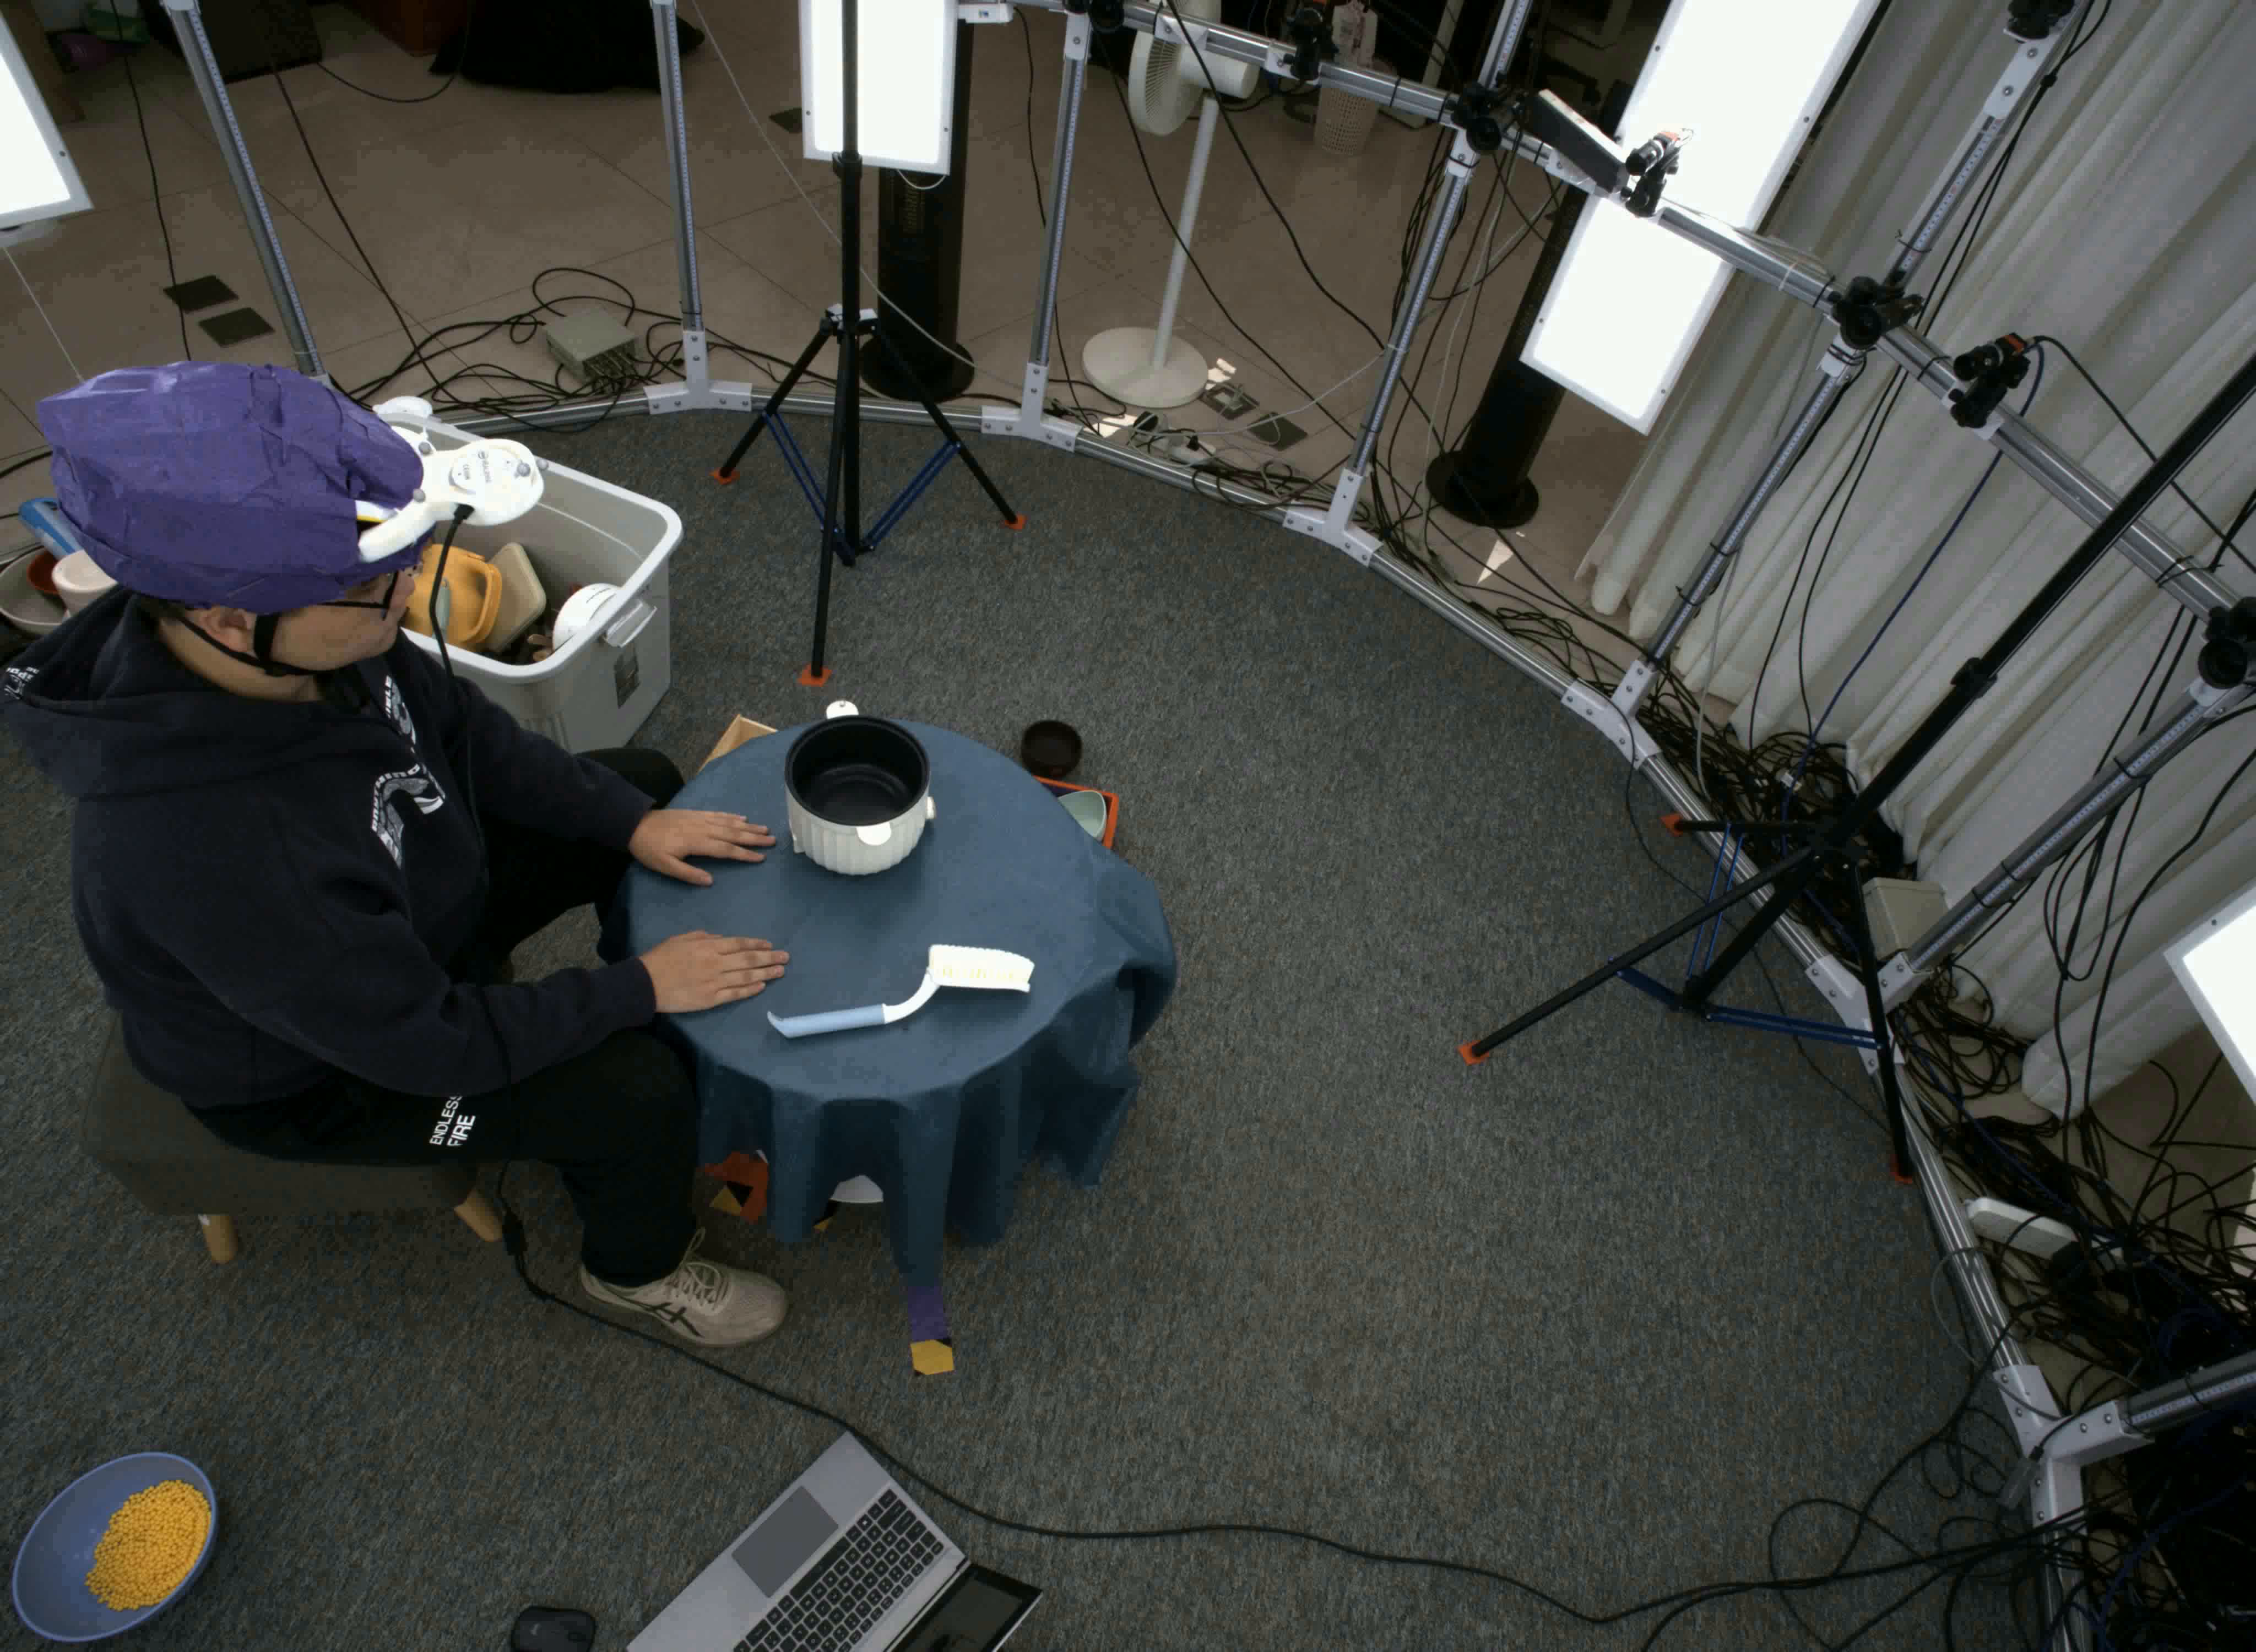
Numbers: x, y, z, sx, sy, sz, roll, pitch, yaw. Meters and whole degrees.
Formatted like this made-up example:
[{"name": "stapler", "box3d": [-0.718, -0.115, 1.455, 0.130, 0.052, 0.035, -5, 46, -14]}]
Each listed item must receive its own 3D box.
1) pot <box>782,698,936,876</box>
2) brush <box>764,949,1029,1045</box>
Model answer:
[{"name": "pot", "box3d": [-0.344, -0.037, 1.678, 0.191, 0.146, 0.234, -12, 58, -17]}, {"name": "brush", "box3d": [-0.276, 0.186, 1.563, 0.327, 0.084, 0.083, -7, 61, -20]}]
